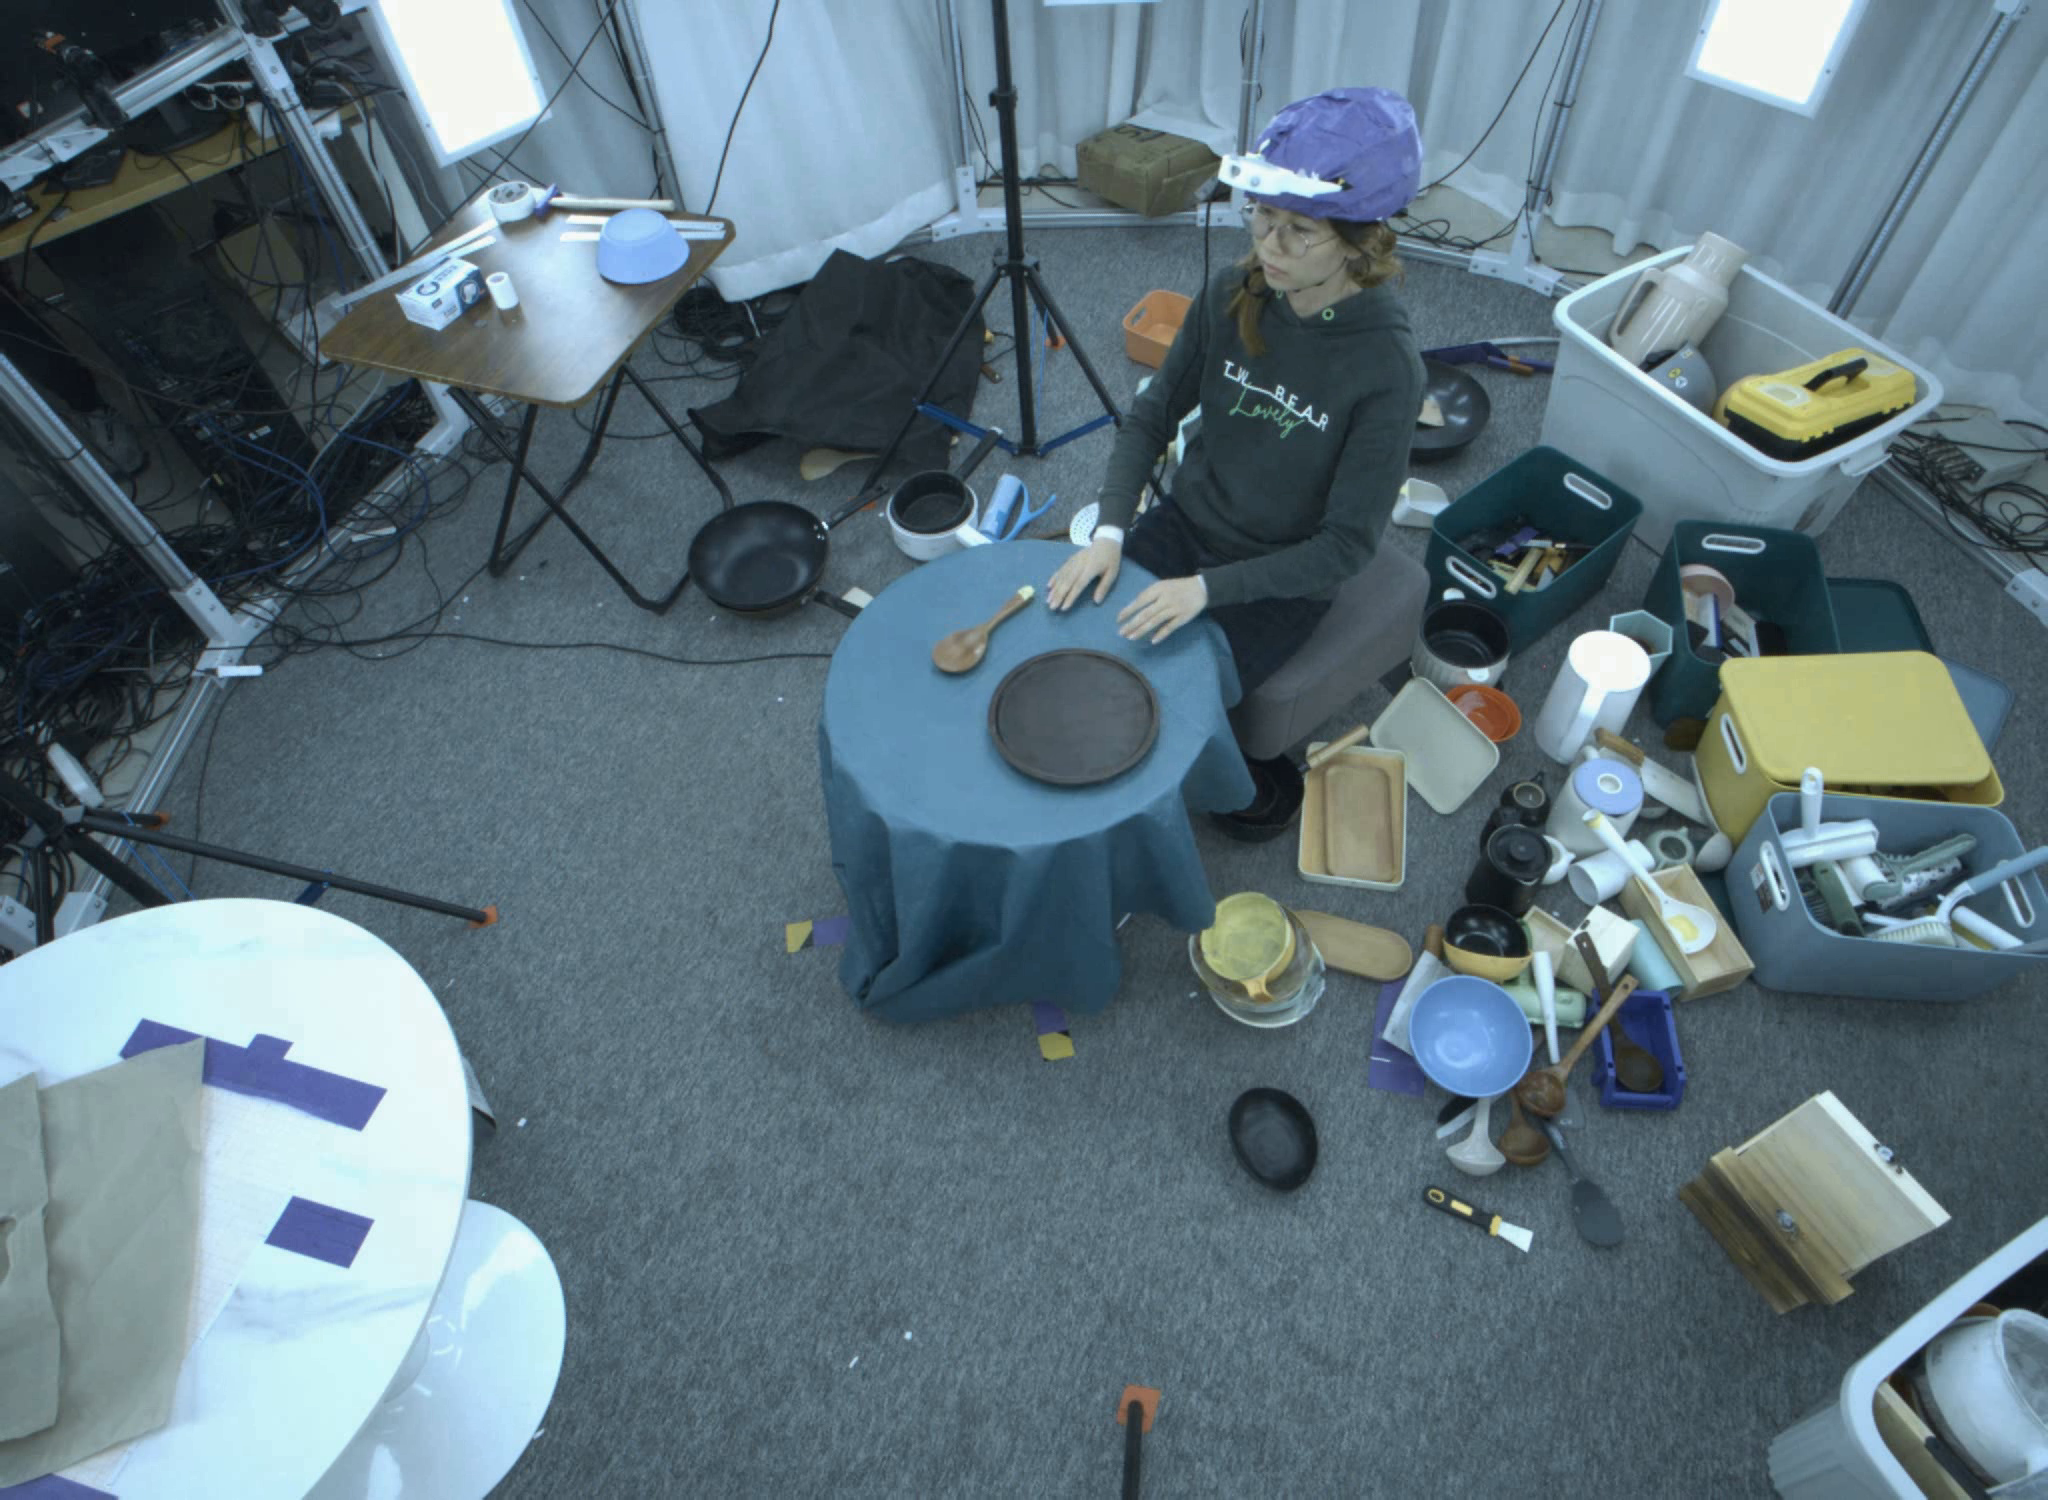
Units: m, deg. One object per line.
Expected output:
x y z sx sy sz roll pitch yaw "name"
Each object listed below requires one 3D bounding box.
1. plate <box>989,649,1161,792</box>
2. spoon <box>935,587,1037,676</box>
0.076 -0.044 1.813 0.254 0.029 0.252 0 56 2 "plate"
-0.054 -0.186 1.919 0.074 0.017 0.217 33 63 23 "spoon"
